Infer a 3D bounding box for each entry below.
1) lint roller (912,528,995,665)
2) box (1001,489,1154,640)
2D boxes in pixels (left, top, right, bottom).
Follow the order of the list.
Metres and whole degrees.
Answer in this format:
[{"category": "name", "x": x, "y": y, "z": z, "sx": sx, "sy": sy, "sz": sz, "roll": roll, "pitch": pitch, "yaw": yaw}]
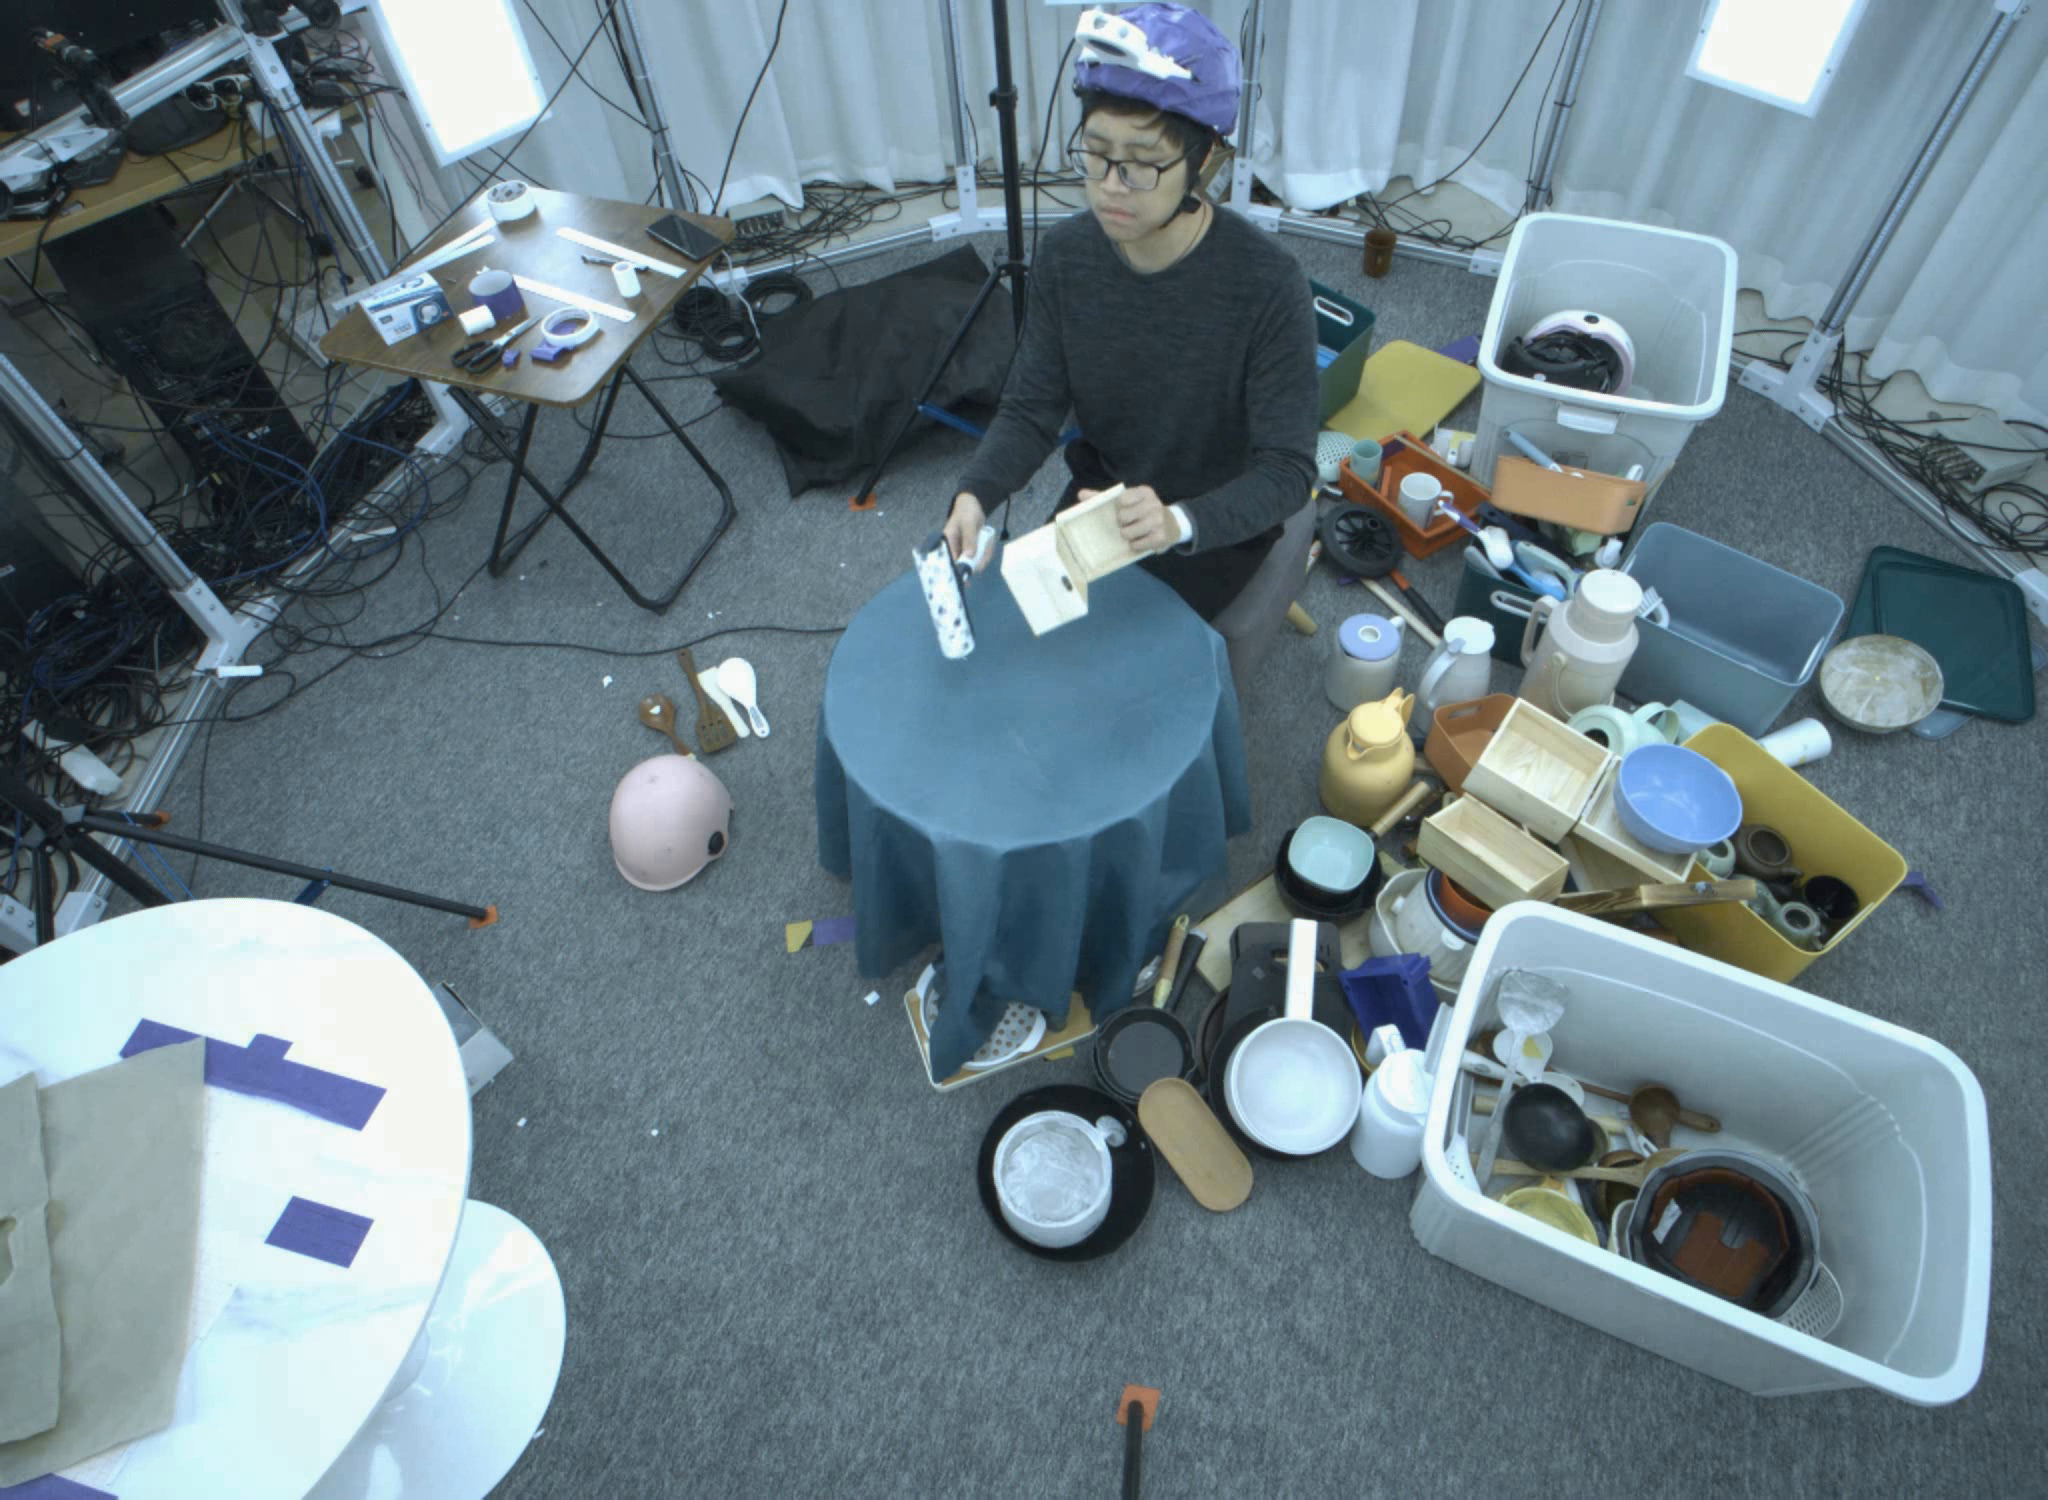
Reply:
[{"category": "lint roller", "x": -0.092, "y": -0.259, "z": 1.782, "sx": 0.050, "sy": 0.179, "sz": 0.246, "roll": -3, "pitch": 35, "yaw": 16}, {"category": "box", "x": 0.074, "y": -0.248, "z": 1.638, "sx": 0.183, "sy": 0.104, "sz": 0.132, "roll": -23, "pitch": 29, "yaw": 13}]
